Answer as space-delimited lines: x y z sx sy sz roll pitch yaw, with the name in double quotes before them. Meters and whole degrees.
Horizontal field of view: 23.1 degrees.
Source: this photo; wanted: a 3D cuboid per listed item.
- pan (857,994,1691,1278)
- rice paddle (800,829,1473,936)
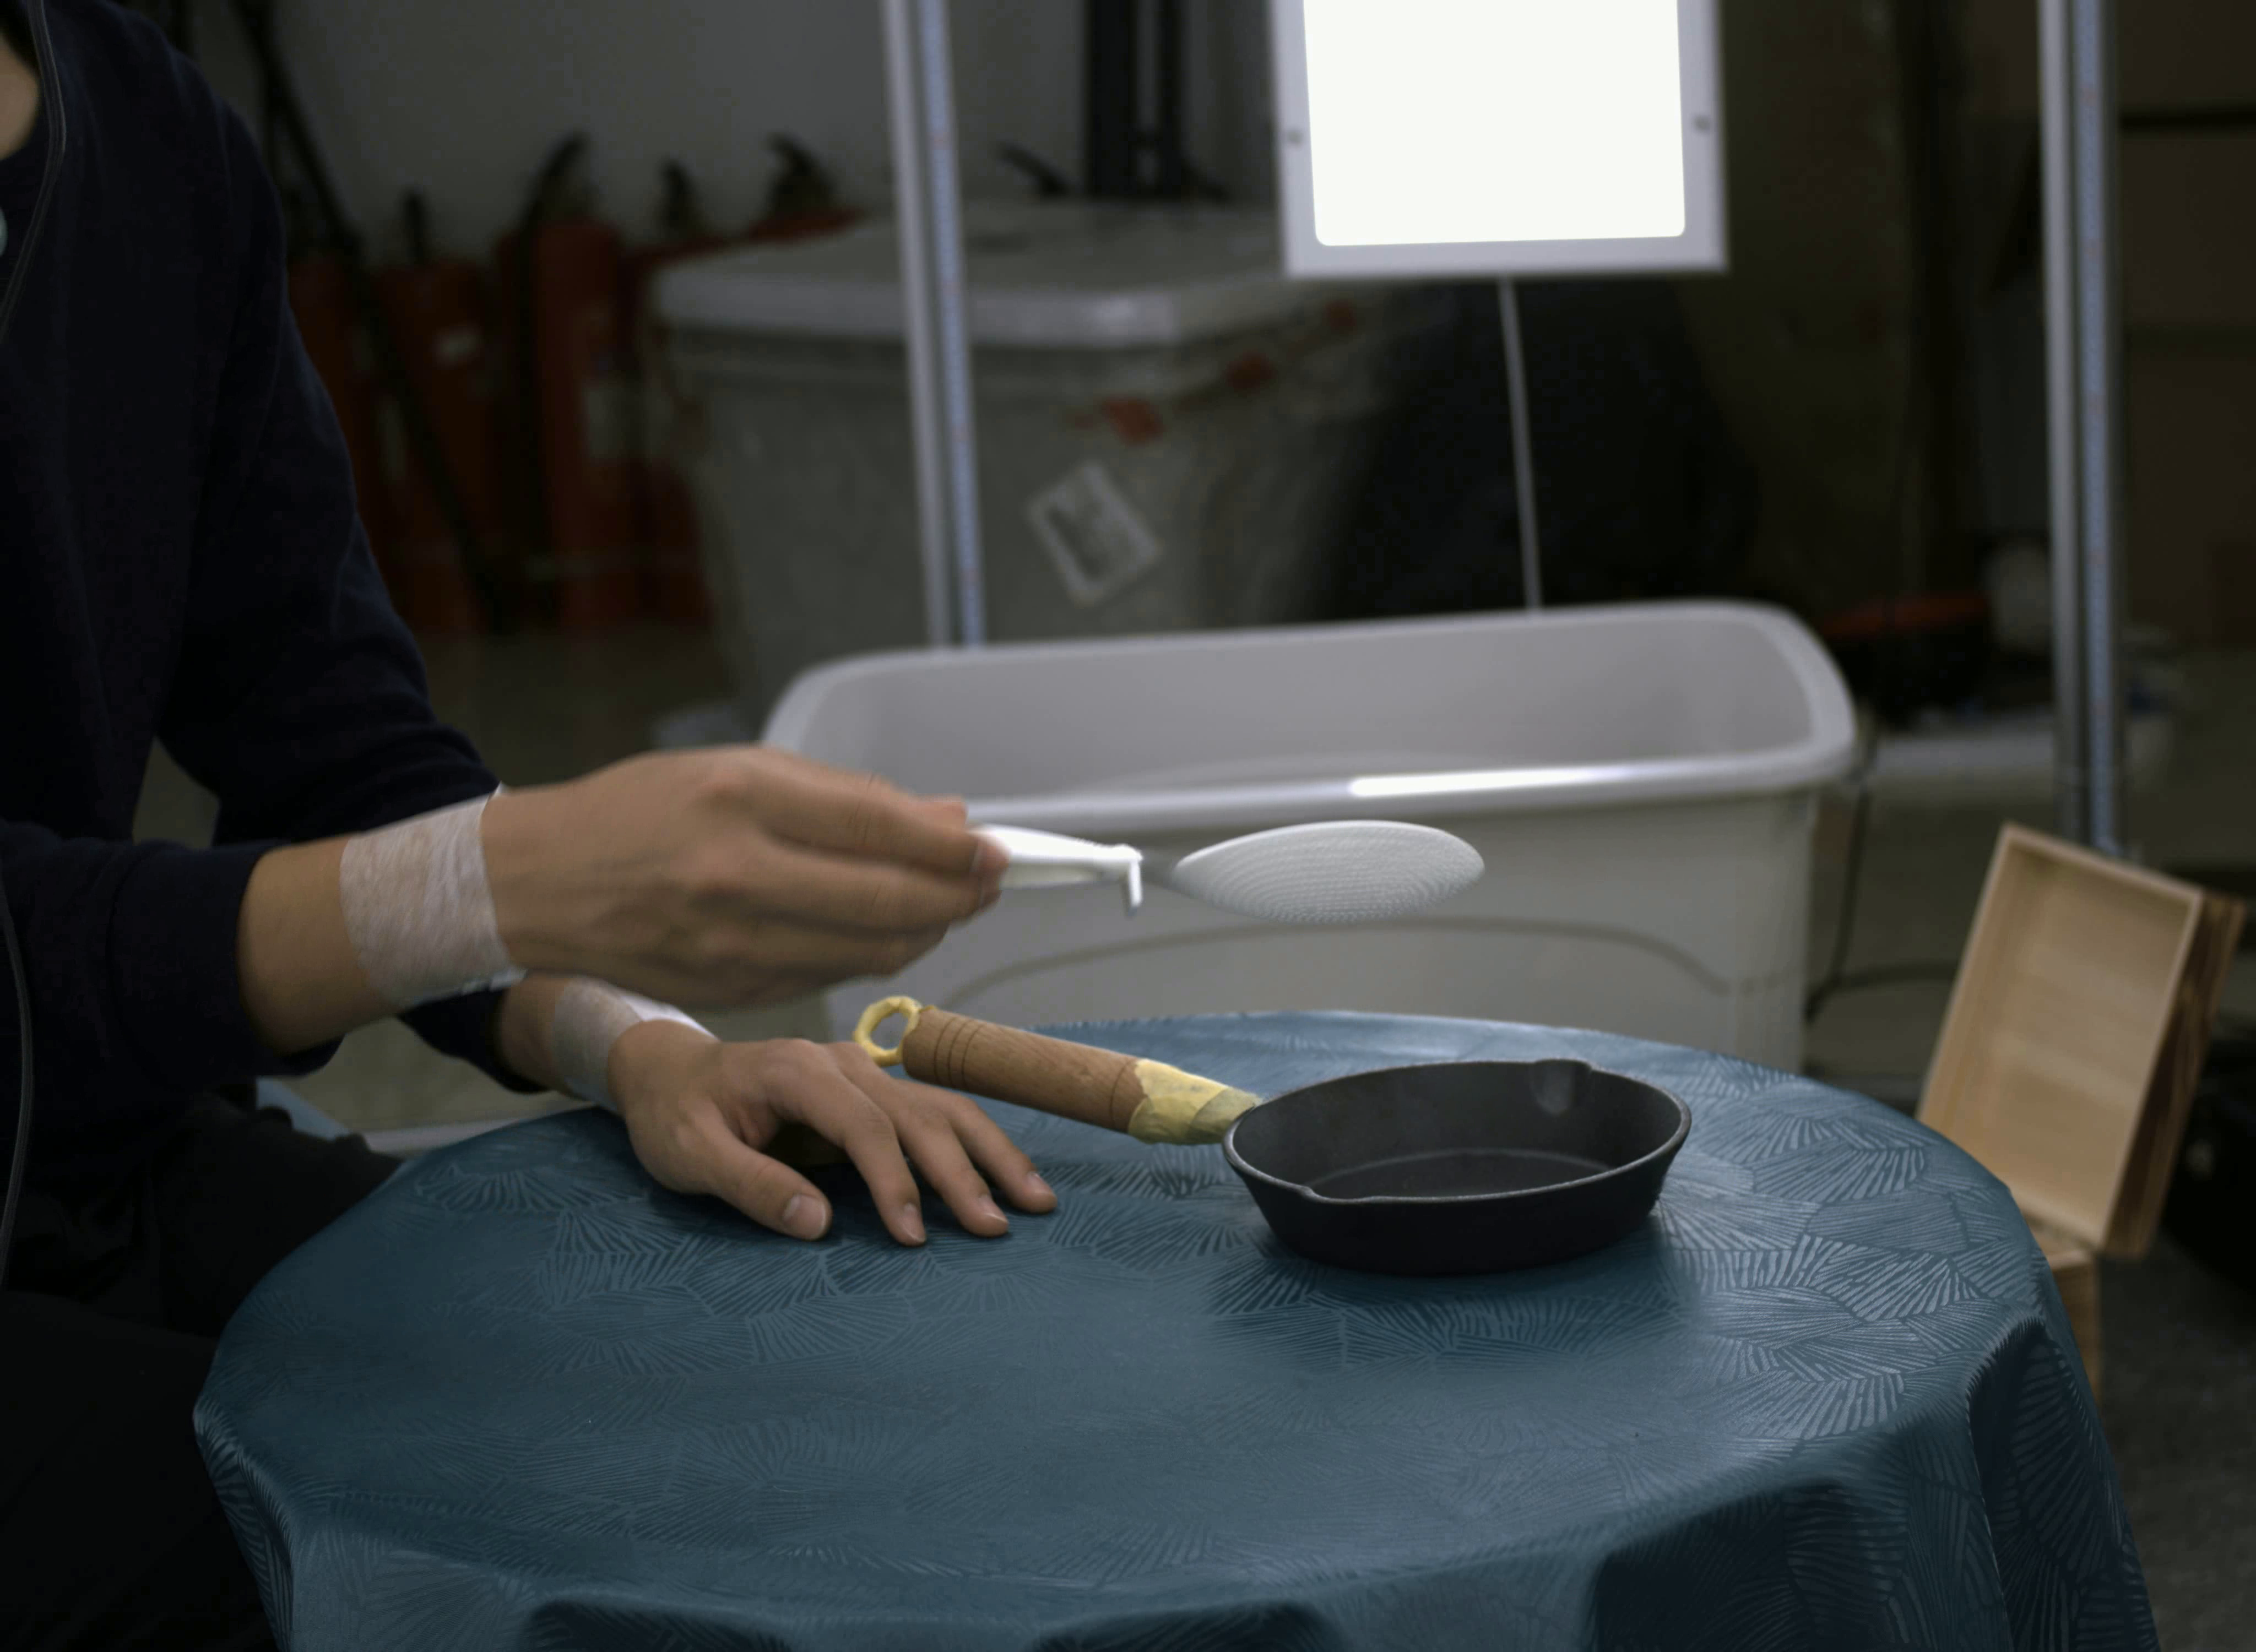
"pan" 0.041 0.100 1.884 0.331 0.050 0.165 7 18 36
"rice paddle" 0.004 0.014 1.647 0.203 0.029 0.069 -2 -18 -10
